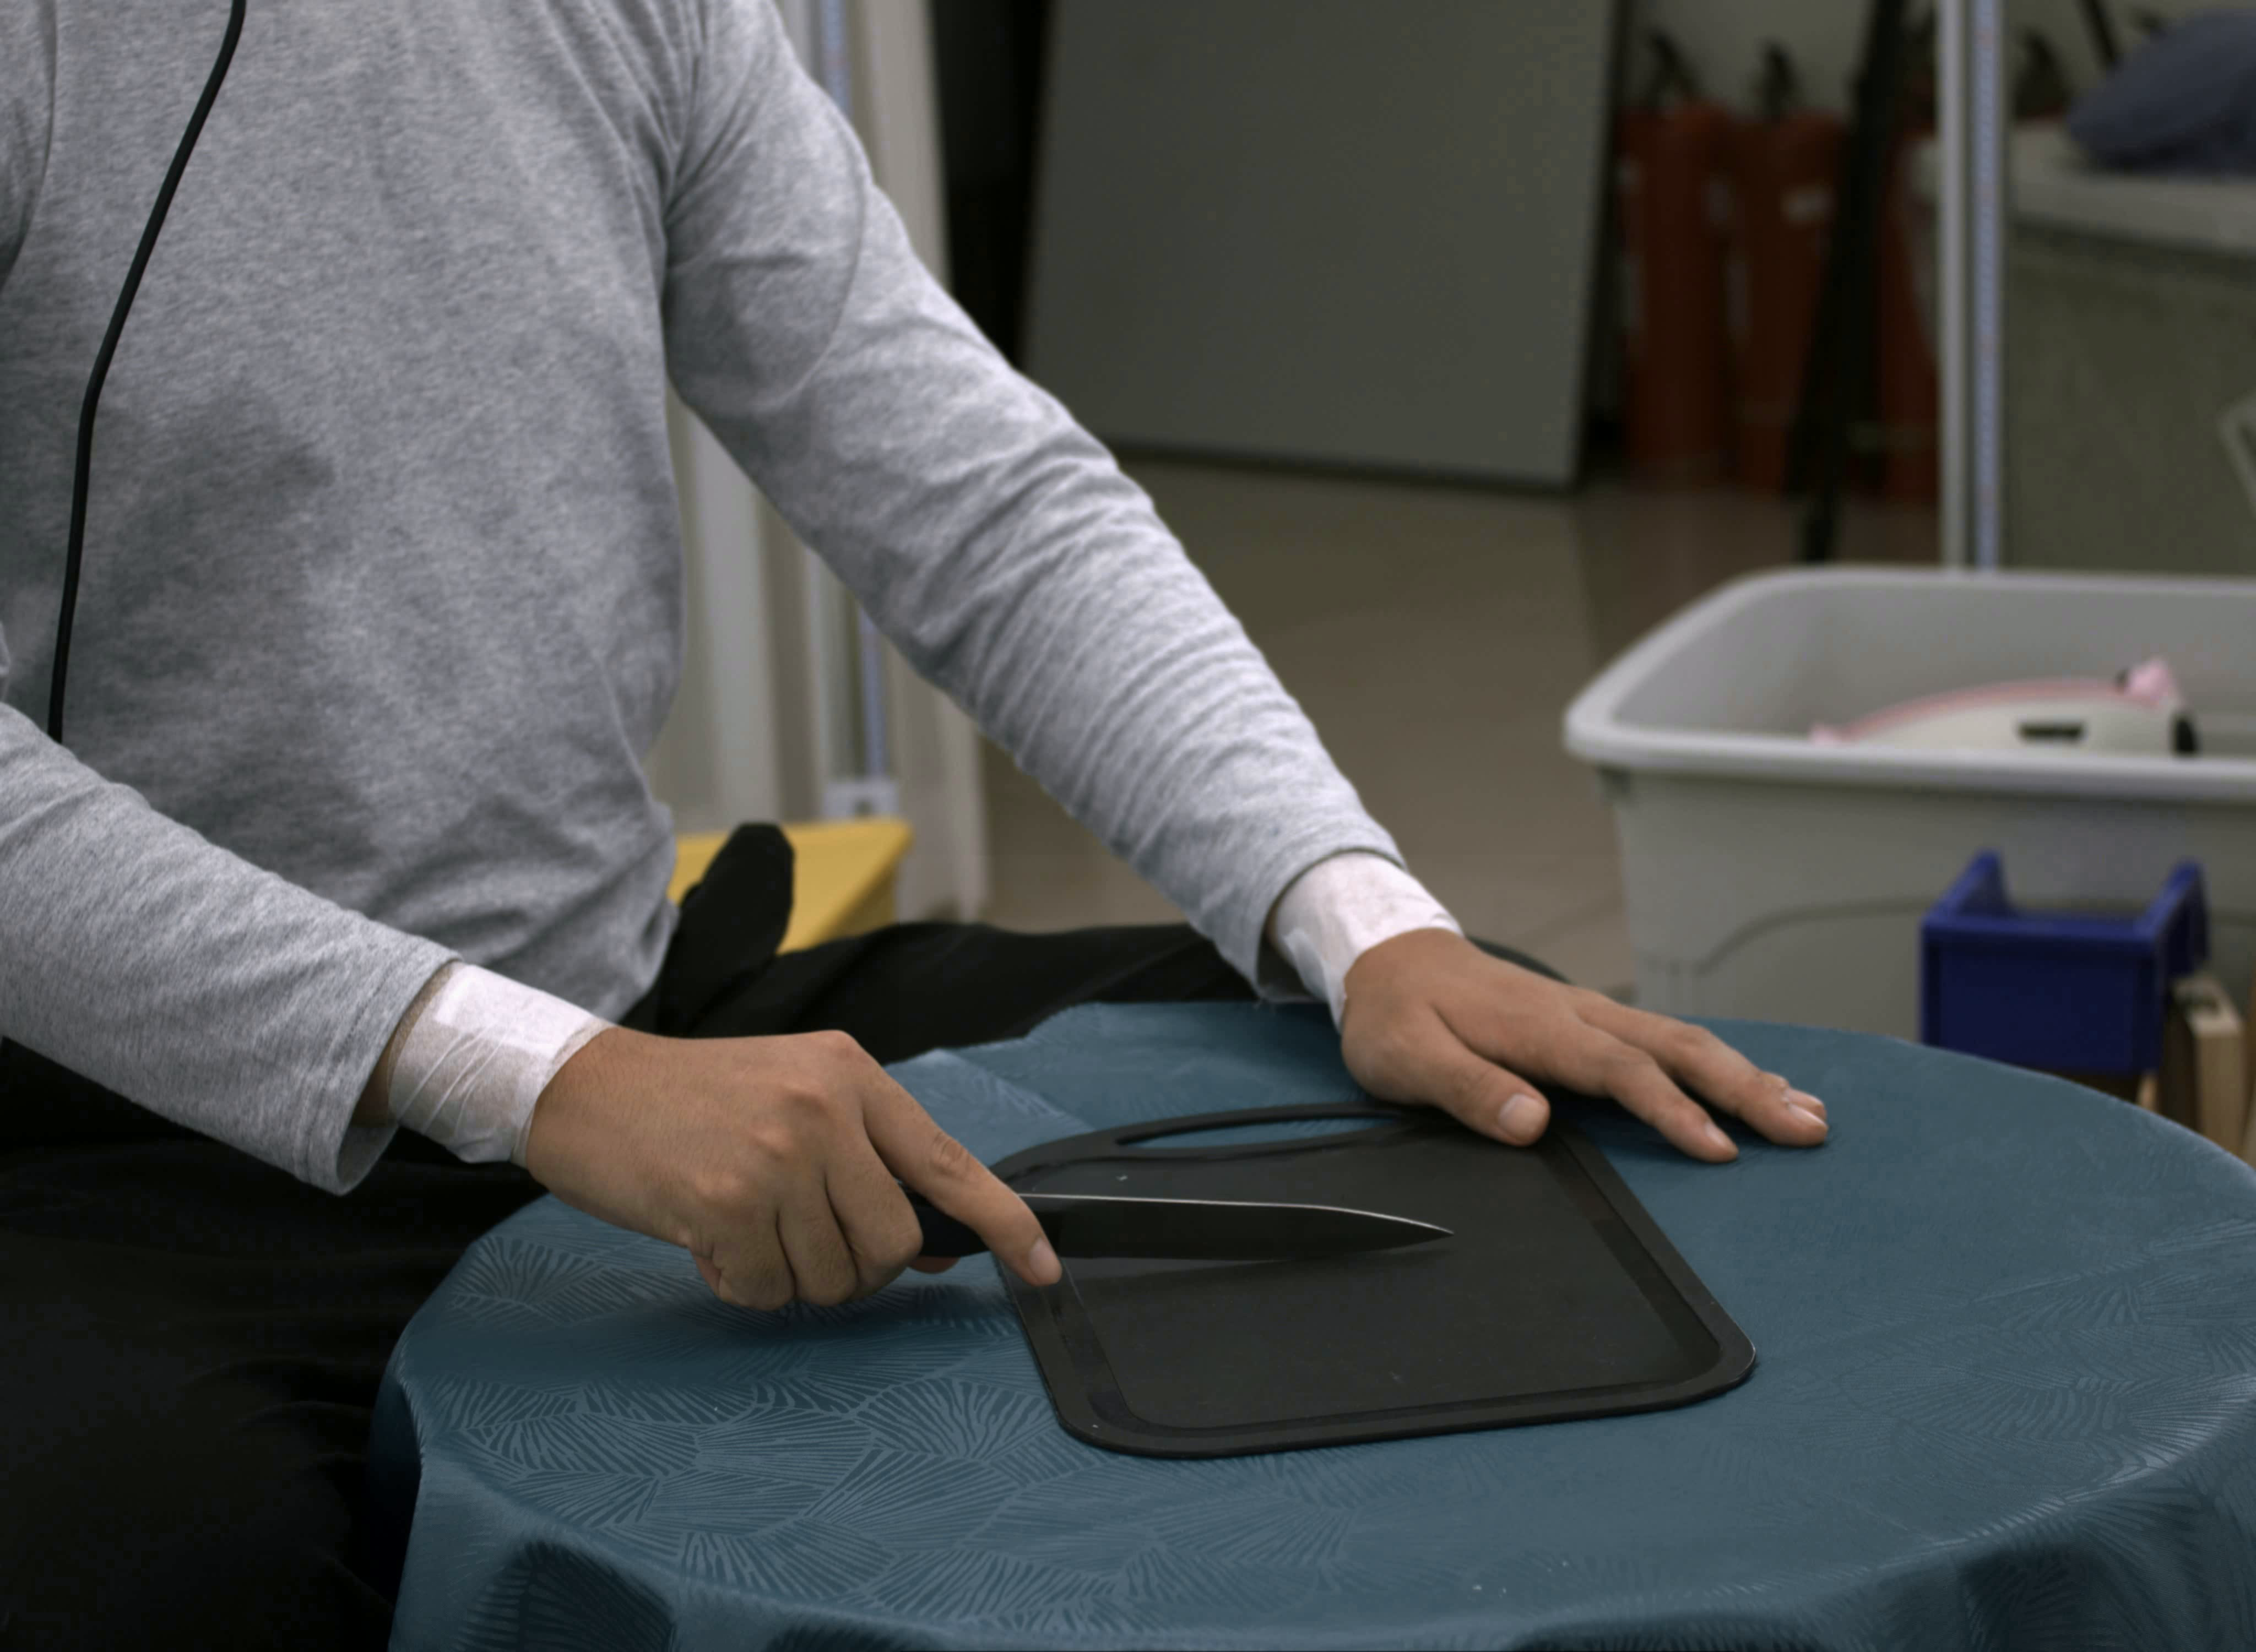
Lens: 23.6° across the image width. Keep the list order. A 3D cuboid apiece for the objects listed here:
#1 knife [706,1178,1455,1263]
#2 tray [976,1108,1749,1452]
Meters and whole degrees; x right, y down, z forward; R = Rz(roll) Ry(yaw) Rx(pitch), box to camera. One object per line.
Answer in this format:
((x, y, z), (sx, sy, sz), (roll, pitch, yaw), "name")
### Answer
((-0.013, 0.124, 1.678), (0.234, 0.025, 0.016), (3, 28, -5), "knife")
((0.064, 0.135, 1.688), (0.208, 0.010, 0.327), (-6, 13, -6), "tray")
